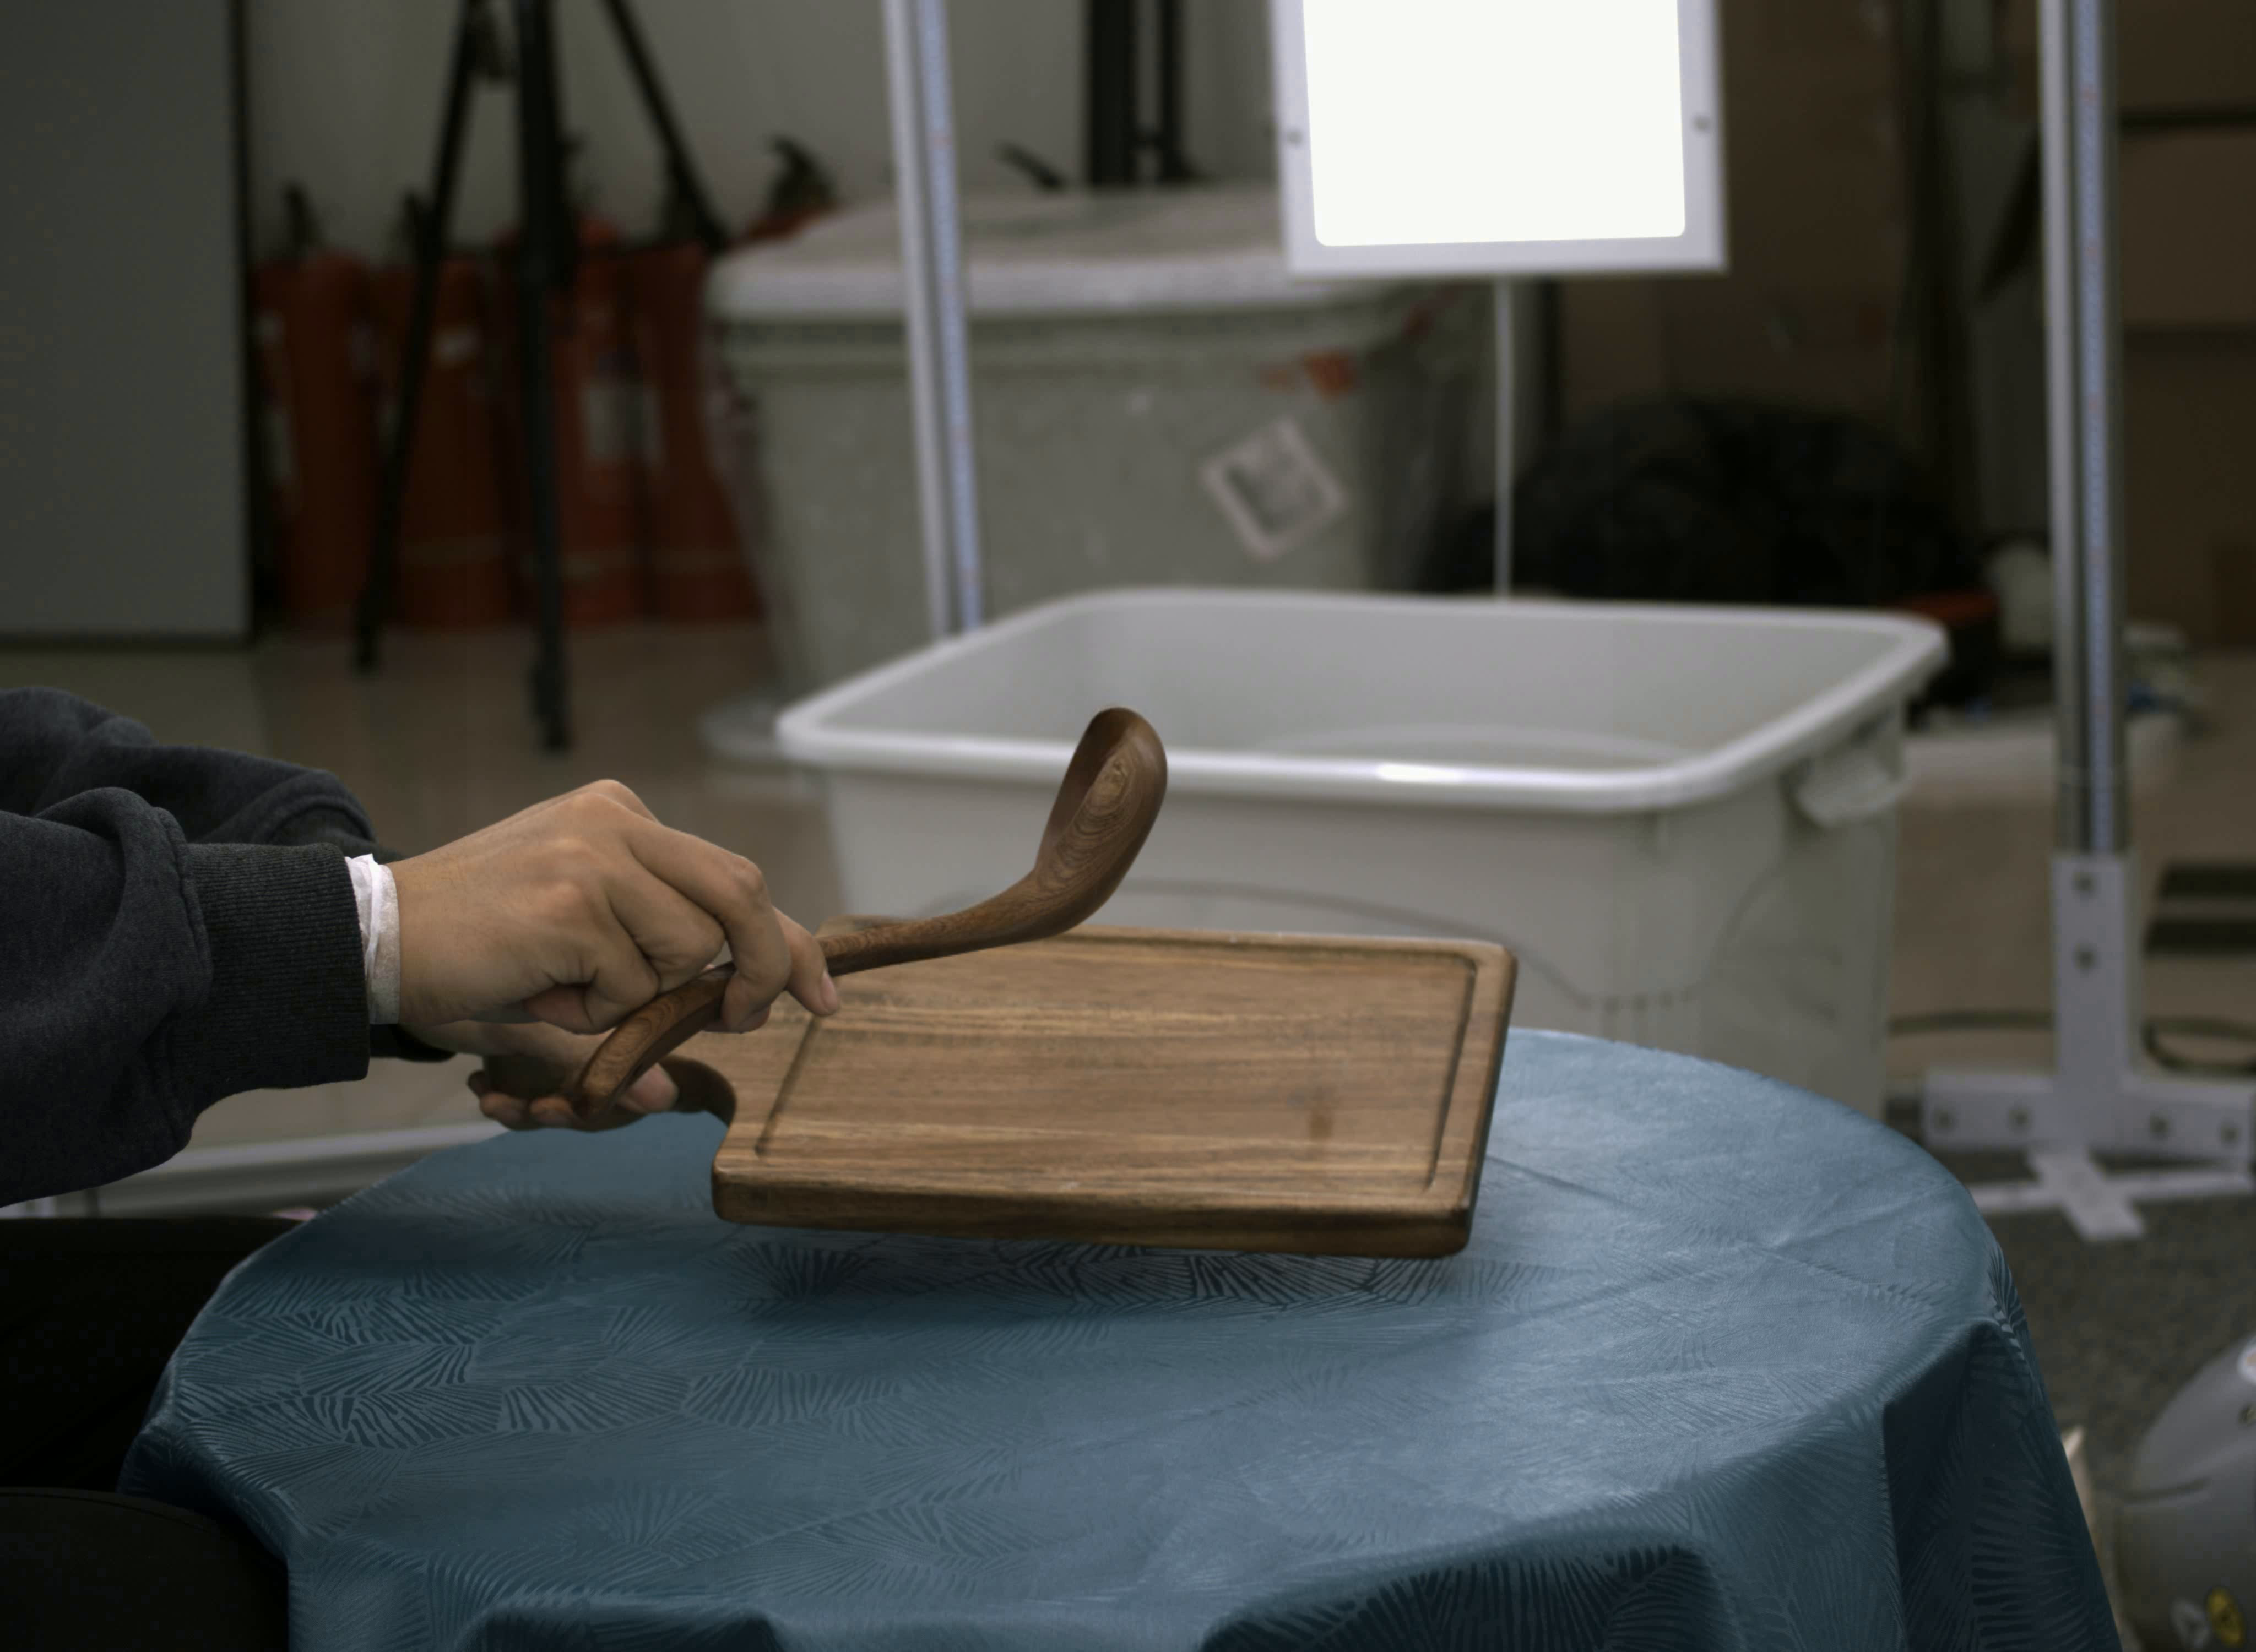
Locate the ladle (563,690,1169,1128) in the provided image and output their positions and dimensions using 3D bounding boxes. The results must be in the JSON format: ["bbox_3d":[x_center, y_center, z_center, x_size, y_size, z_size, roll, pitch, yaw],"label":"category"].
[{"bbox_3d":[-0.084,0.025,1.717,0.254,0.077,0.065,-23,62,-35],"label":"ladle"}]

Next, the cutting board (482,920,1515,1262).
[{"bbox_3d":[-0.048,0.084,1.875,0.354,0.023,0.199,2,25,10],"label":"cutting board"}]
